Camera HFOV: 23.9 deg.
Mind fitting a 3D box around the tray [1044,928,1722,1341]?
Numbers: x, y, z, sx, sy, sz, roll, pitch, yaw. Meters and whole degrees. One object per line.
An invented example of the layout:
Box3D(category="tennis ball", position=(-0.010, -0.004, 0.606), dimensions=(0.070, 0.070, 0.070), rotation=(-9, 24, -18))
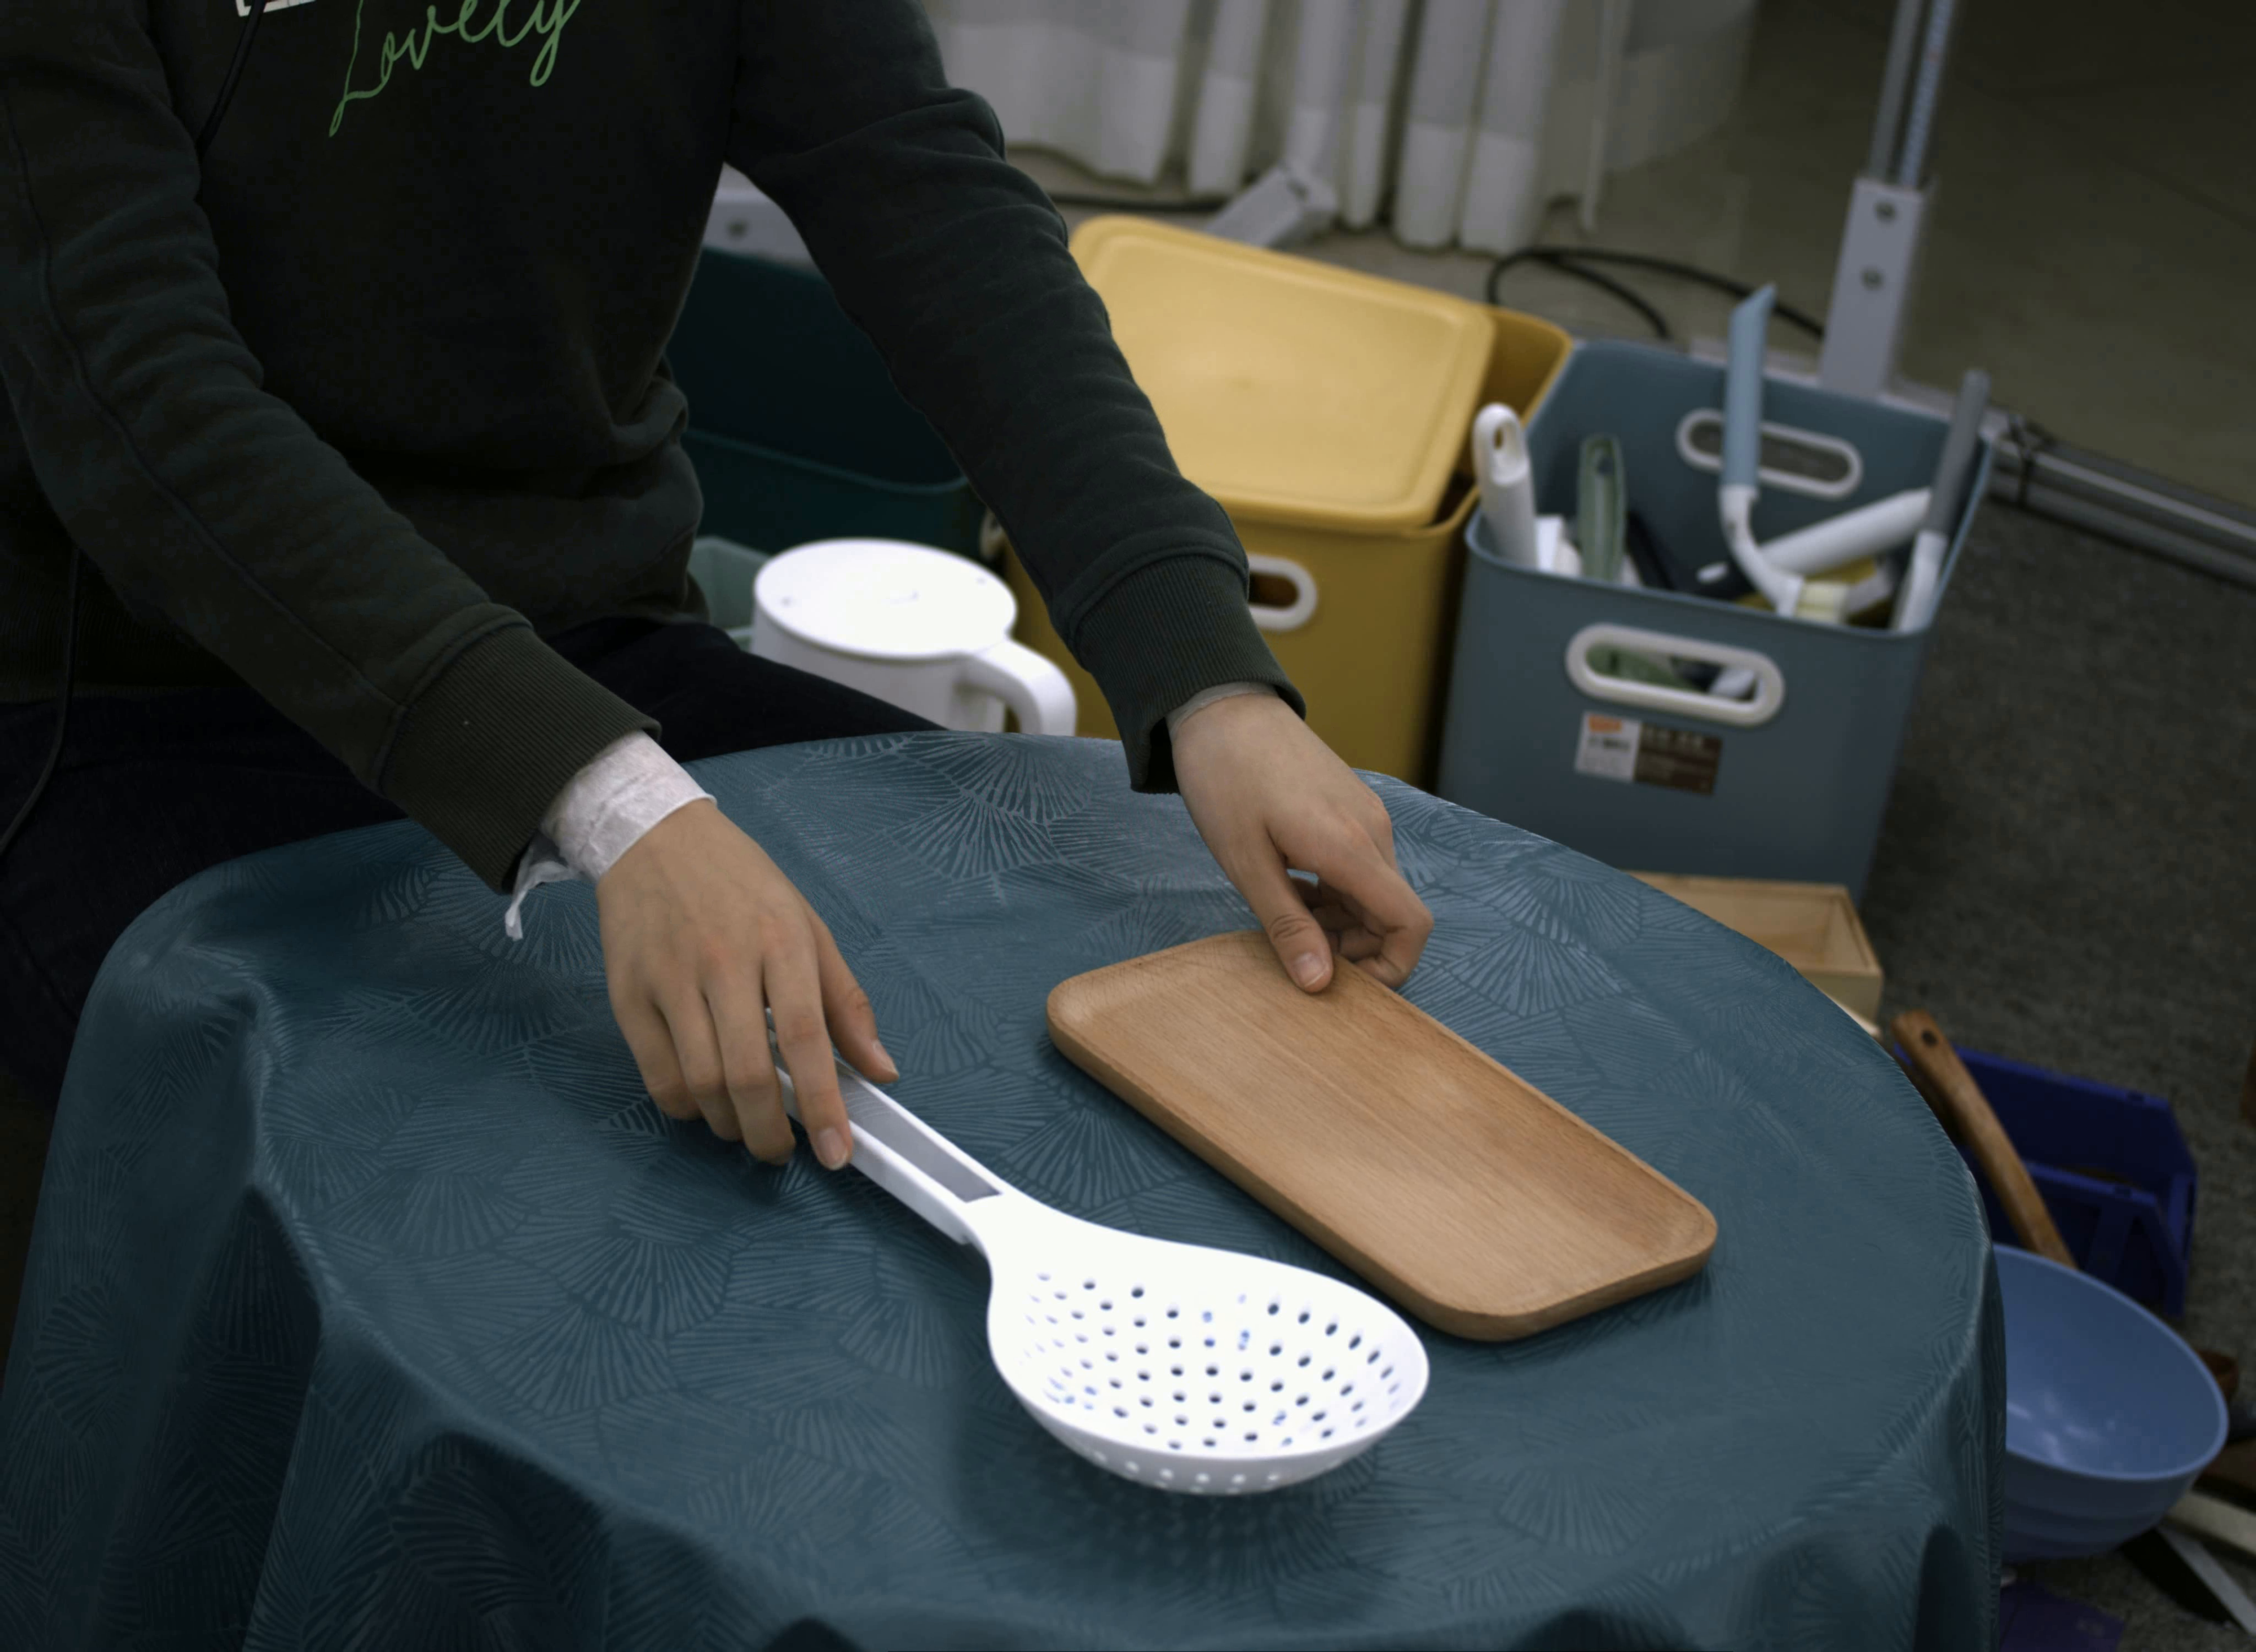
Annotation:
Box3D(category="tray", position=(0.084, 0.104, 1.840), dimensions=(0.130, 0.023, 0.253), rotation=(-12, 31, -36))

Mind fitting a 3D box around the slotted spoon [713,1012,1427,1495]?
Box3D(category="slotted spoon", position=(-0.037, 0.132, 1.725), dimensions=(0.135, 0.045, 0.353), rotation=(-10, 30, -34))
